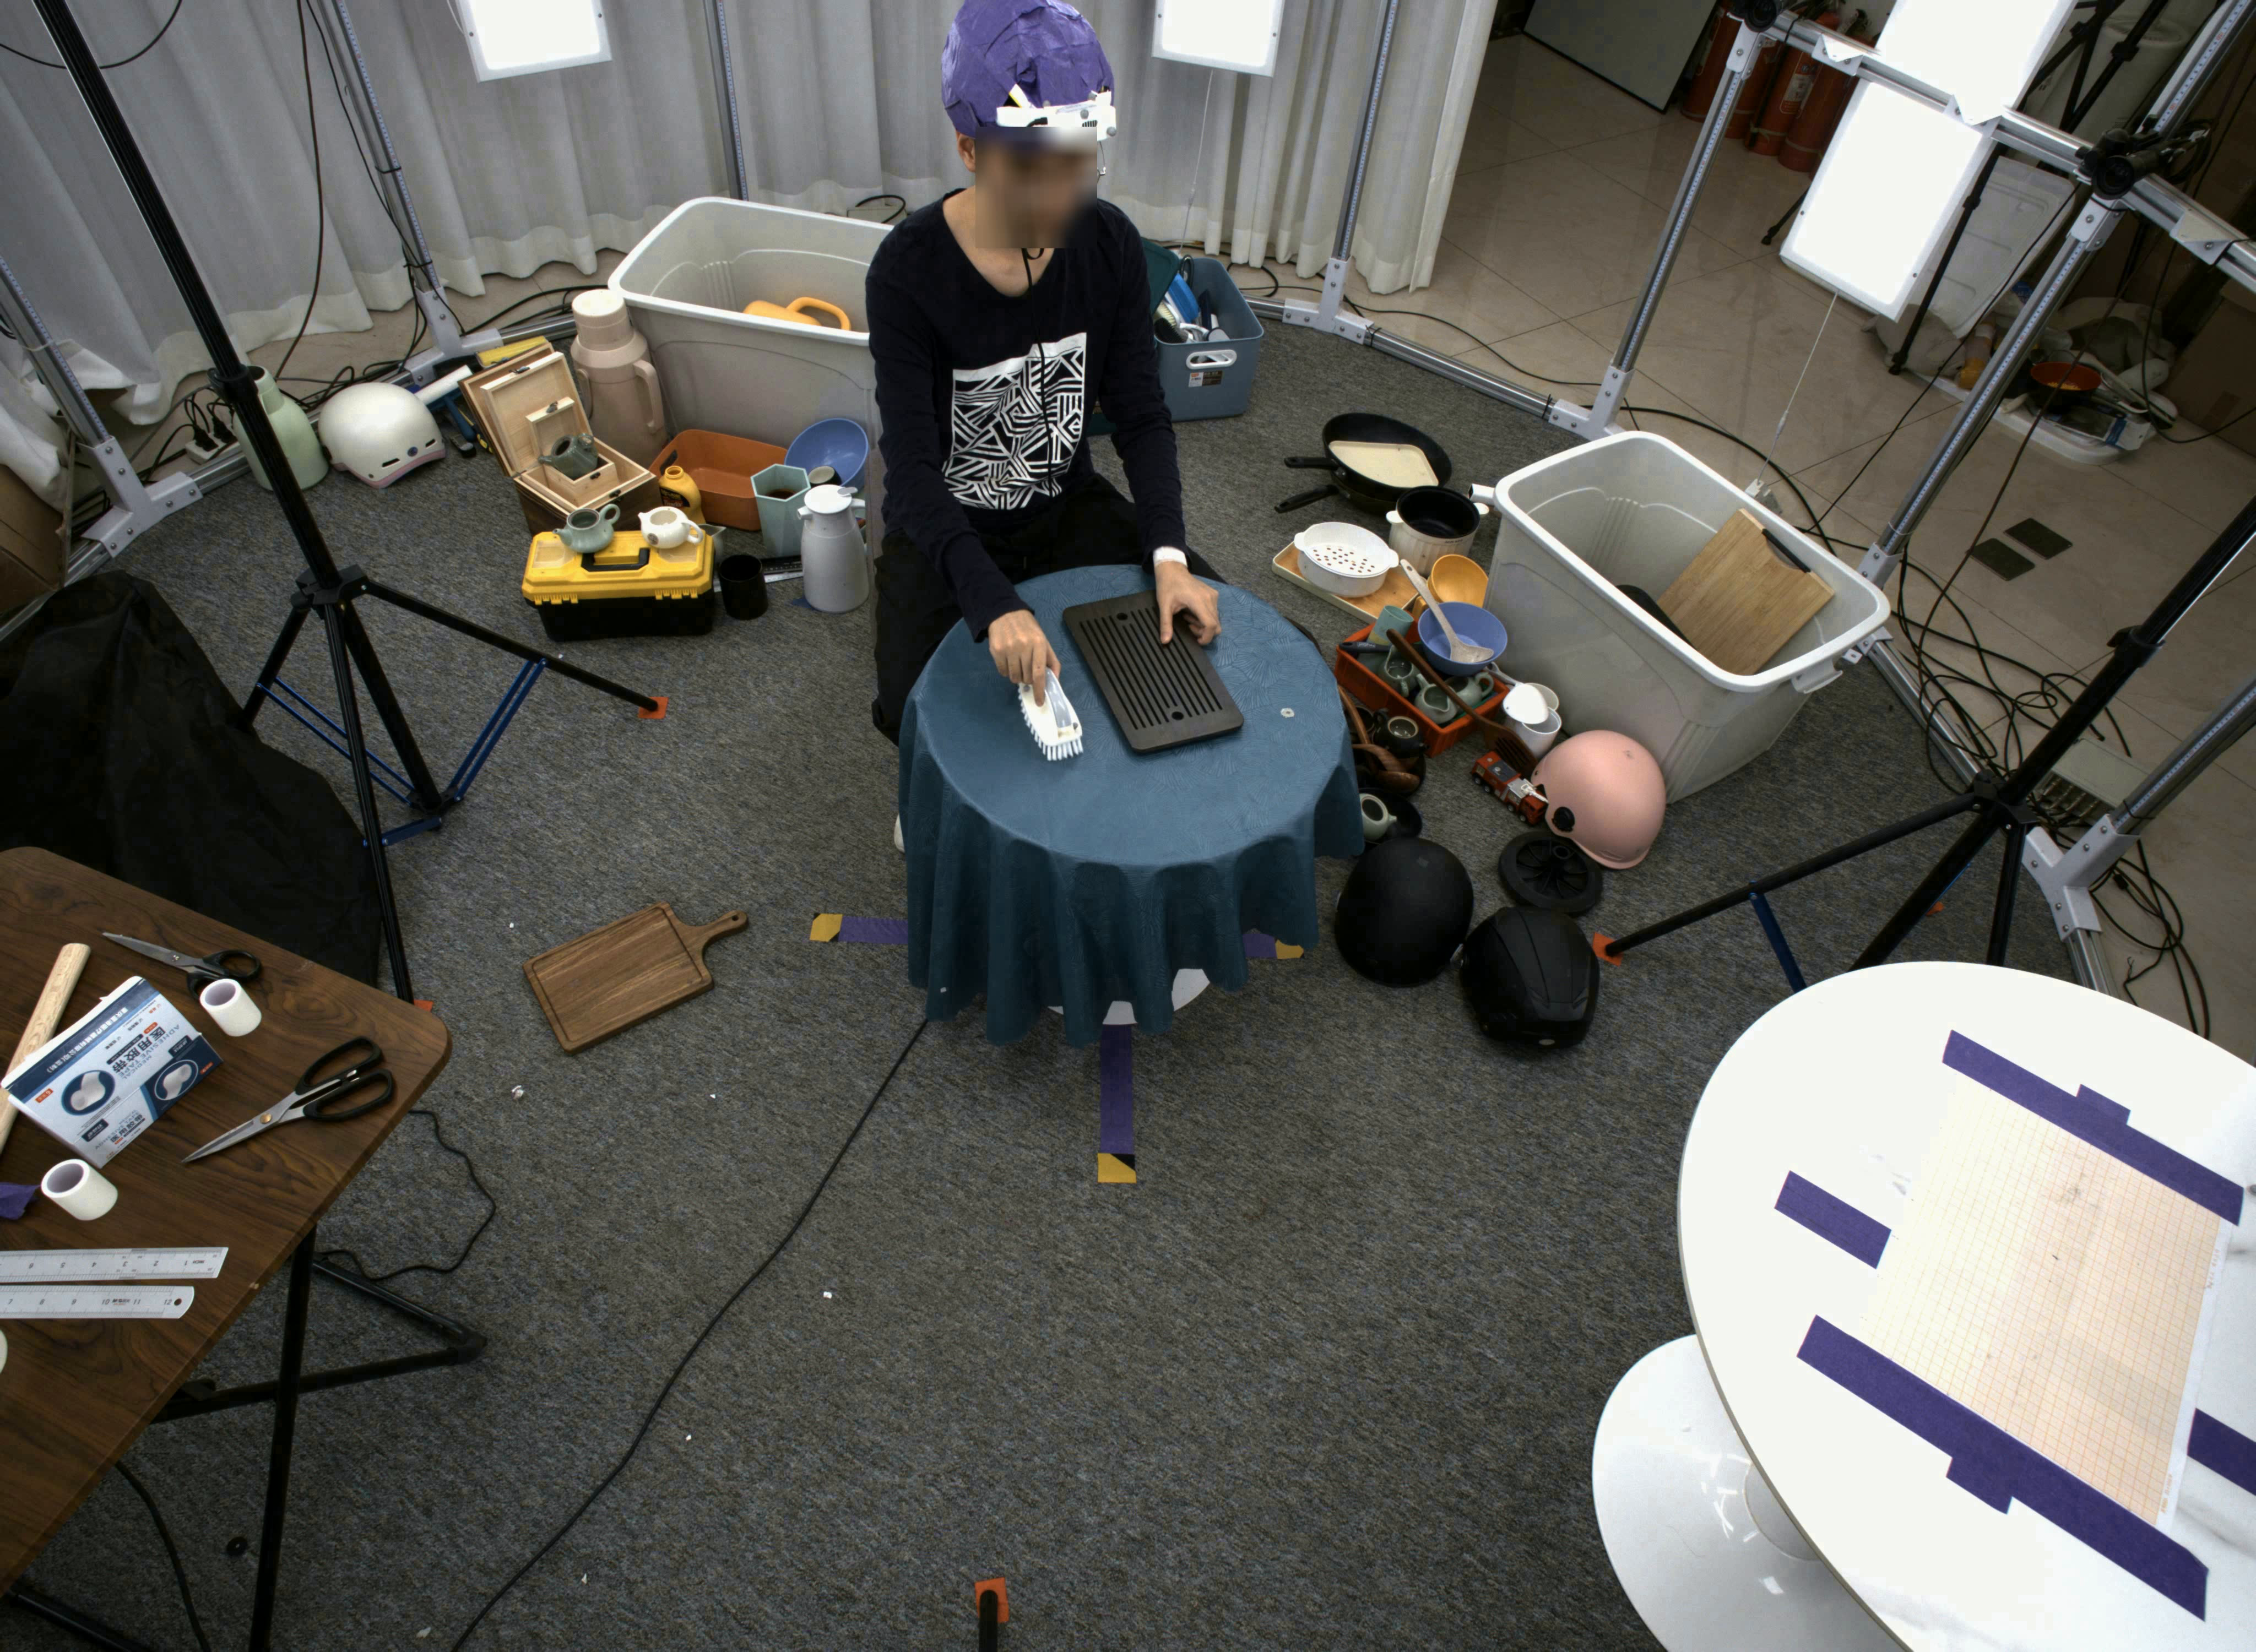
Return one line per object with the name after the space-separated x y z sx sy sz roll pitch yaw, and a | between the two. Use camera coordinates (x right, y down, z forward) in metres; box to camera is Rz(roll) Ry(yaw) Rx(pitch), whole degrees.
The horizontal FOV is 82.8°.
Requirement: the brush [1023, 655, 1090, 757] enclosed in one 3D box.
-0.107 -0.183 1.764 0.061 0.092 0.179 -18 51 -17 | brush

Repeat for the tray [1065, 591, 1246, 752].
0.035 -0.228 1.857 0.170 0.018 0.313 -14 51 -15 | tray
